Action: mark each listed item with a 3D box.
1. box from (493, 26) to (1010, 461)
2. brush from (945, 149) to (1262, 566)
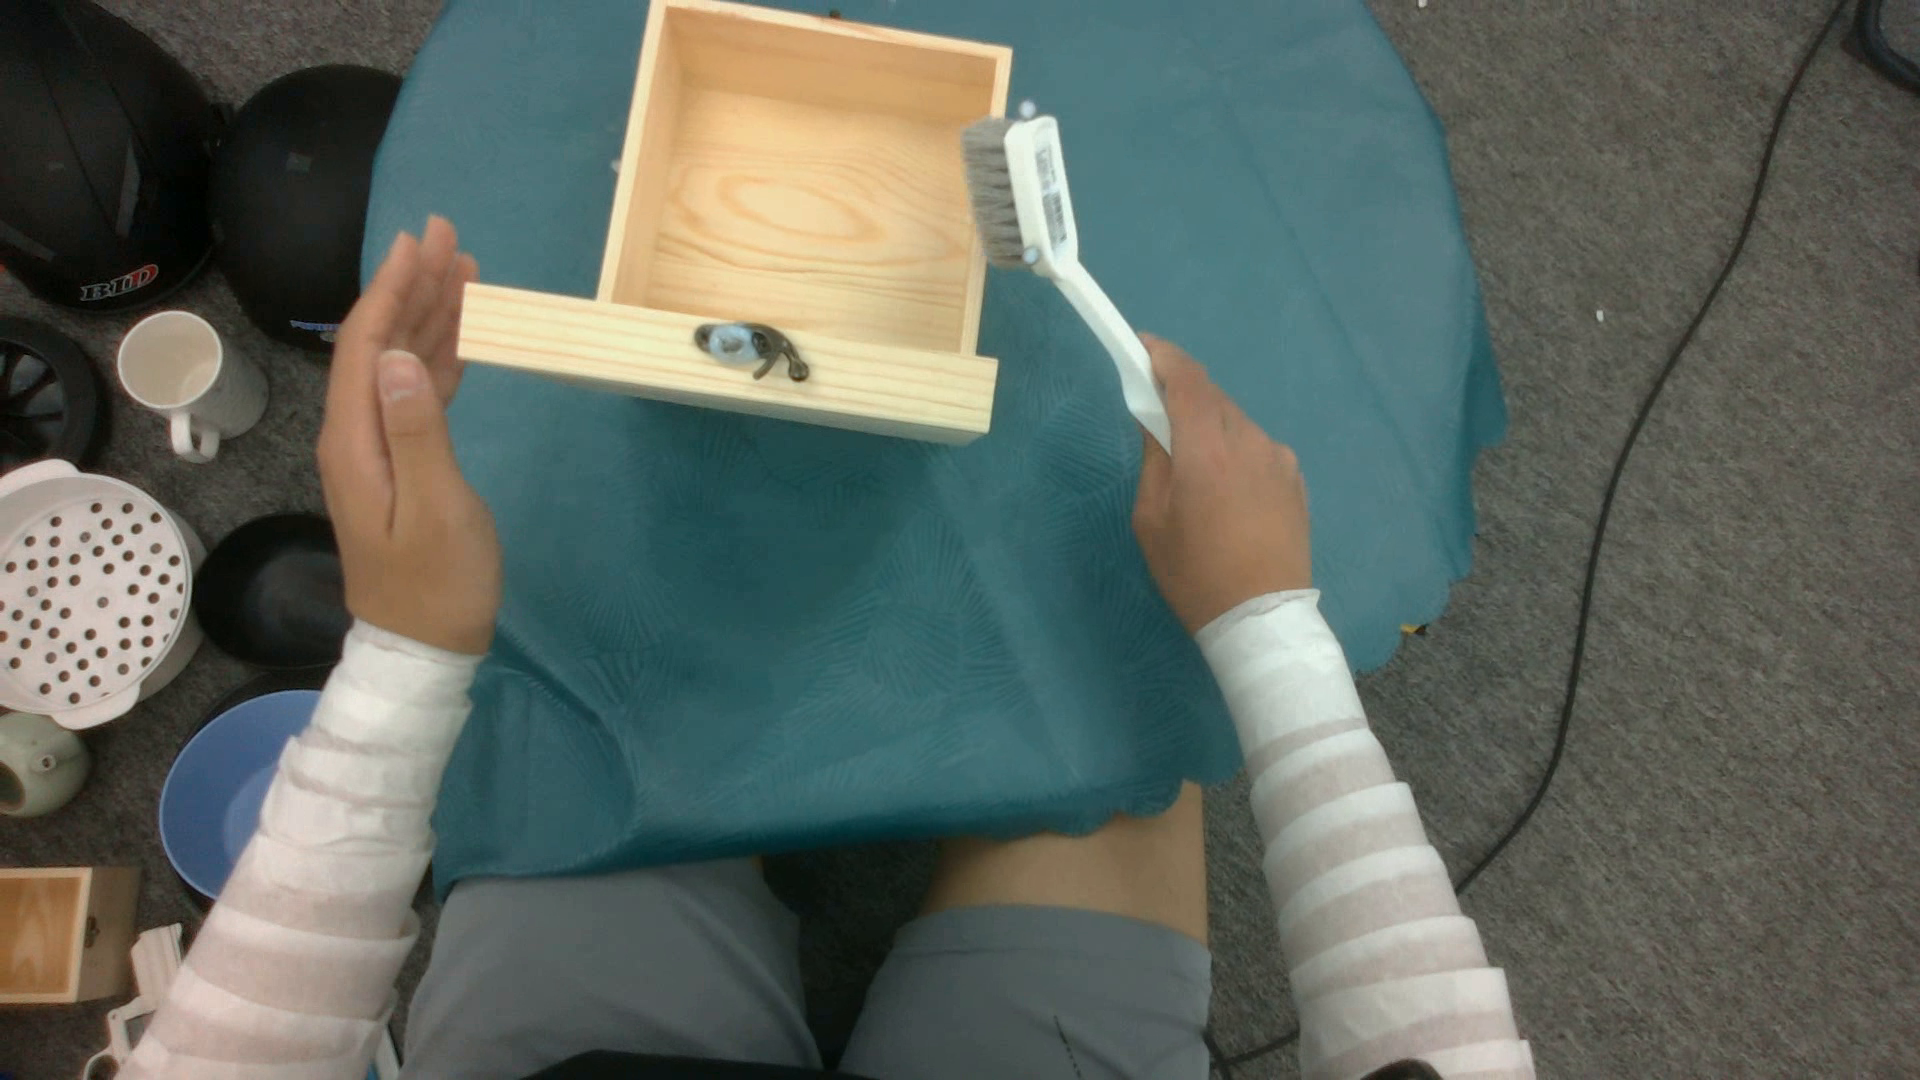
[{"bbox_3d":[-0.072,-0.143,0.632,0.182,0.252,0.265,7,77,-4],"label":"box"},{"bbox_3d":[0.069,-0.082,0.669,0.243,0.050,0.034,56,43,-16],"label":"brush"}]
